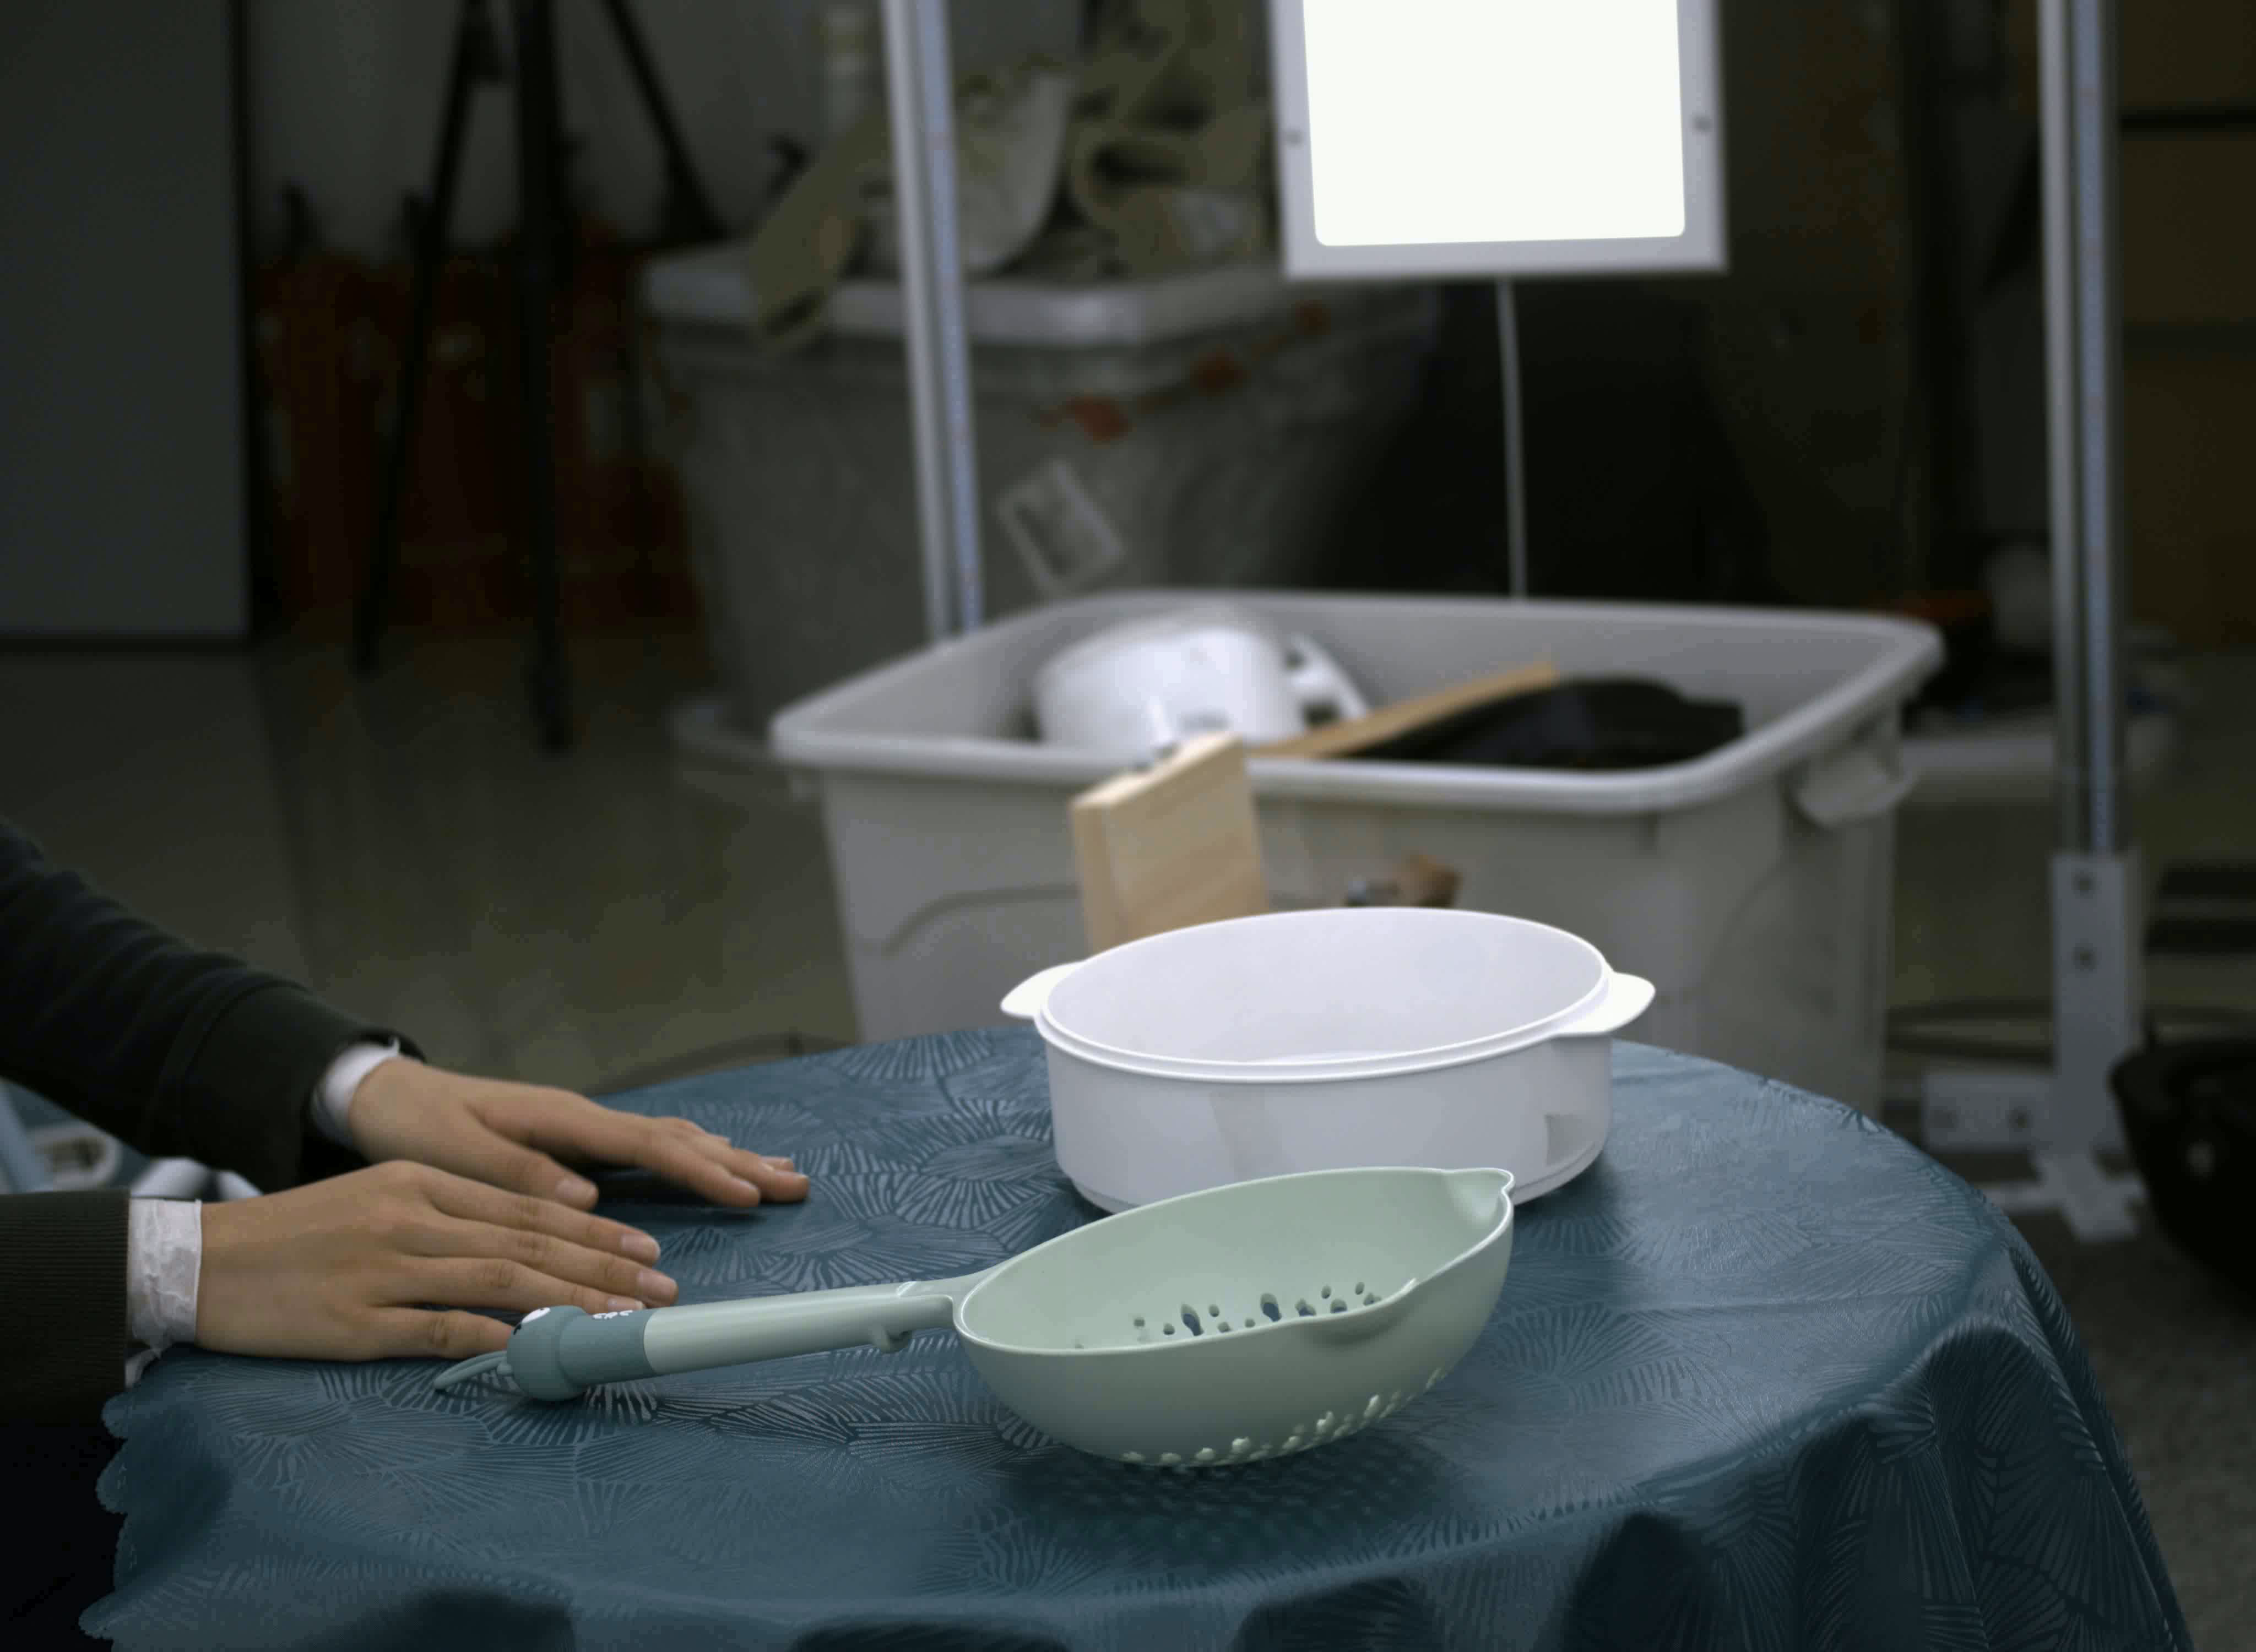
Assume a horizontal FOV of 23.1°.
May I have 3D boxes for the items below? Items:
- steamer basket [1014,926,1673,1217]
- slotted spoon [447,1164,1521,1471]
[{"bbox_3d":[0.075,0.089,1.896,0.234,0.069,0.198,-1,13,22],"label":"steamer basket"},{"bbox_3d":[-0.053,0.151,1.681,0.364,0.075,0.166,1,14,24],"label":"slotted spoon"}]
